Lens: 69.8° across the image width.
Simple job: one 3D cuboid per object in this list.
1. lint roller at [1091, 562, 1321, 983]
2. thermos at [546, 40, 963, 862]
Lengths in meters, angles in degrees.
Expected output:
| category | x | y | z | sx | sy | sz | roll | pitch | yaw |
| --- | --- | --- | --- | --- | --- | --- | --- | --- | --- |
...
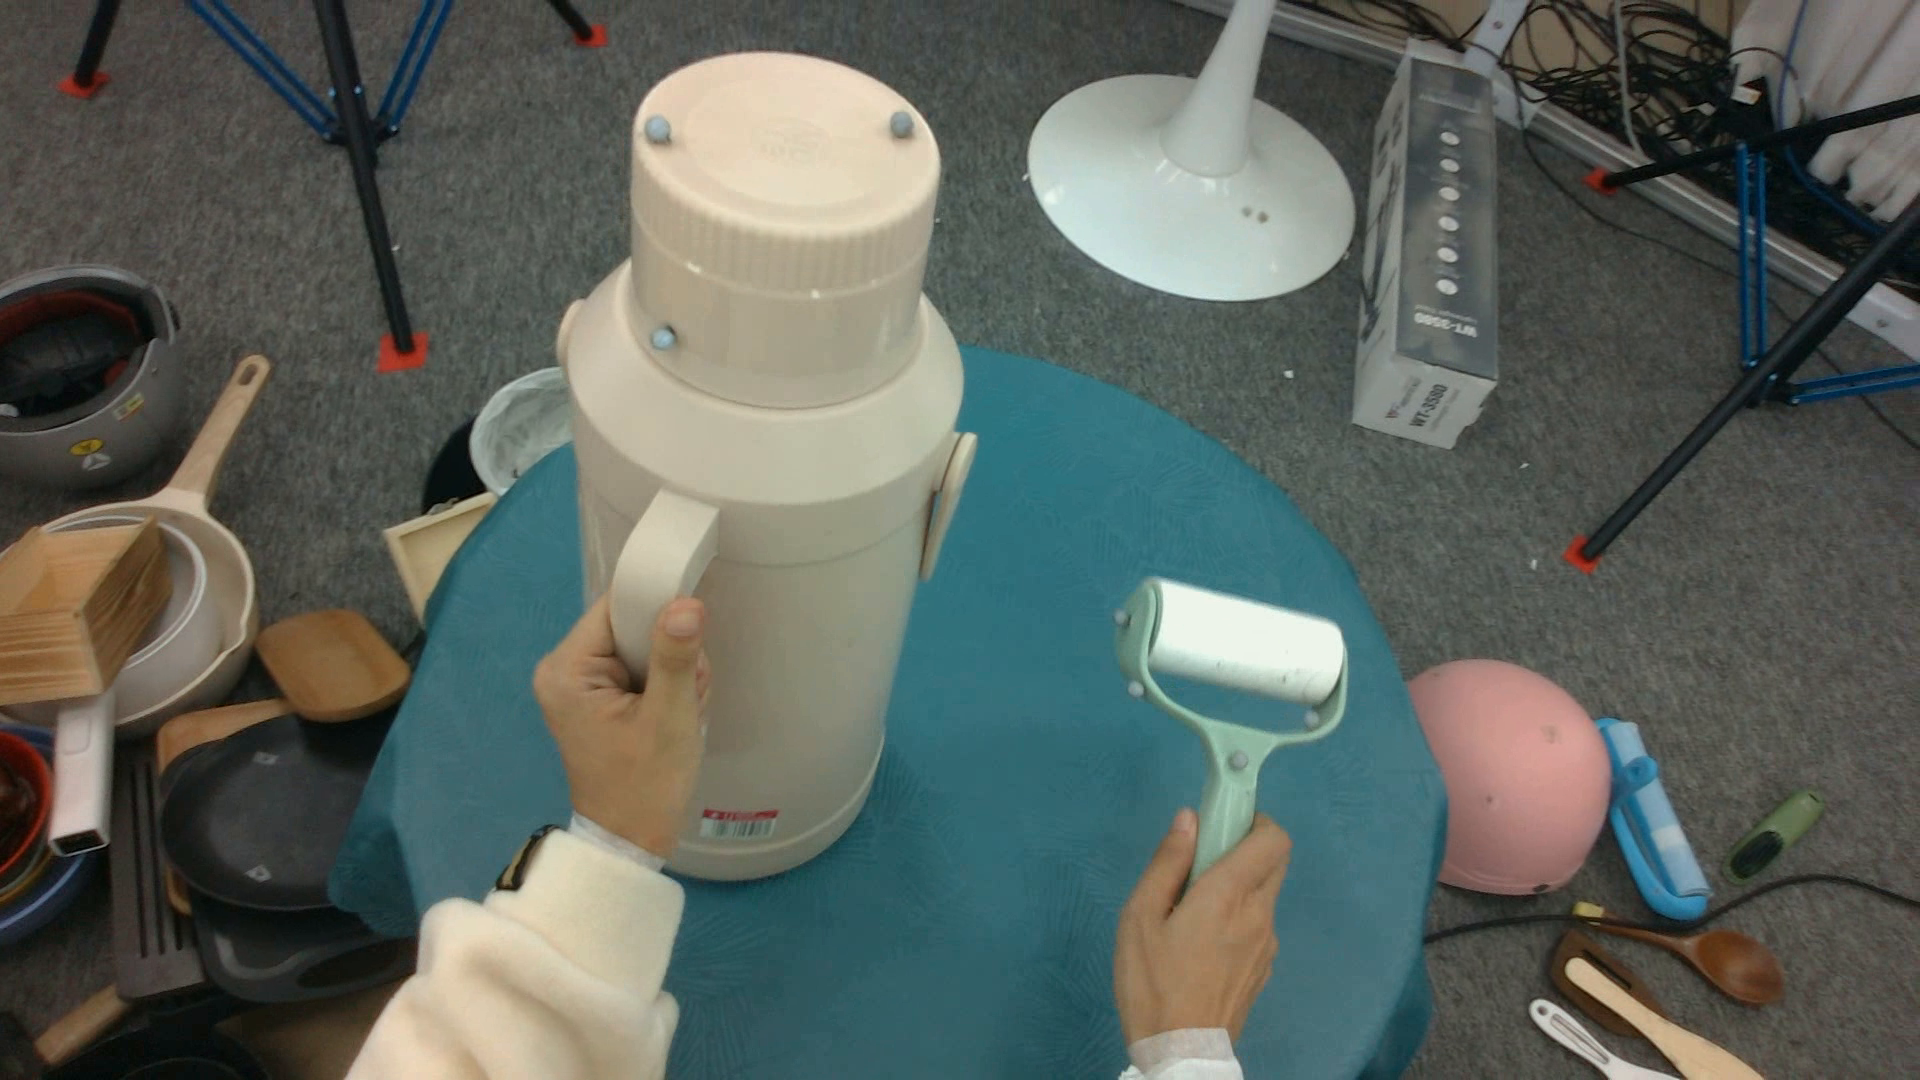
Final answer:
| category | x | y | z | sx | sy | sz | roll | pitch | yaw |
| --- | --- | --- | --- | --- | --- | --- | --- | --- | --- |
| lint roller | 0.113 | 0.113 | 0.673 | 0.117 | 0.048 | 0.198 | 16 | 69 | -17 |
| thermos | -0.102 | -0.006 | 0.613 | 0.175 | 0.404 | 0.208 | 19 | 49 | 3 |
